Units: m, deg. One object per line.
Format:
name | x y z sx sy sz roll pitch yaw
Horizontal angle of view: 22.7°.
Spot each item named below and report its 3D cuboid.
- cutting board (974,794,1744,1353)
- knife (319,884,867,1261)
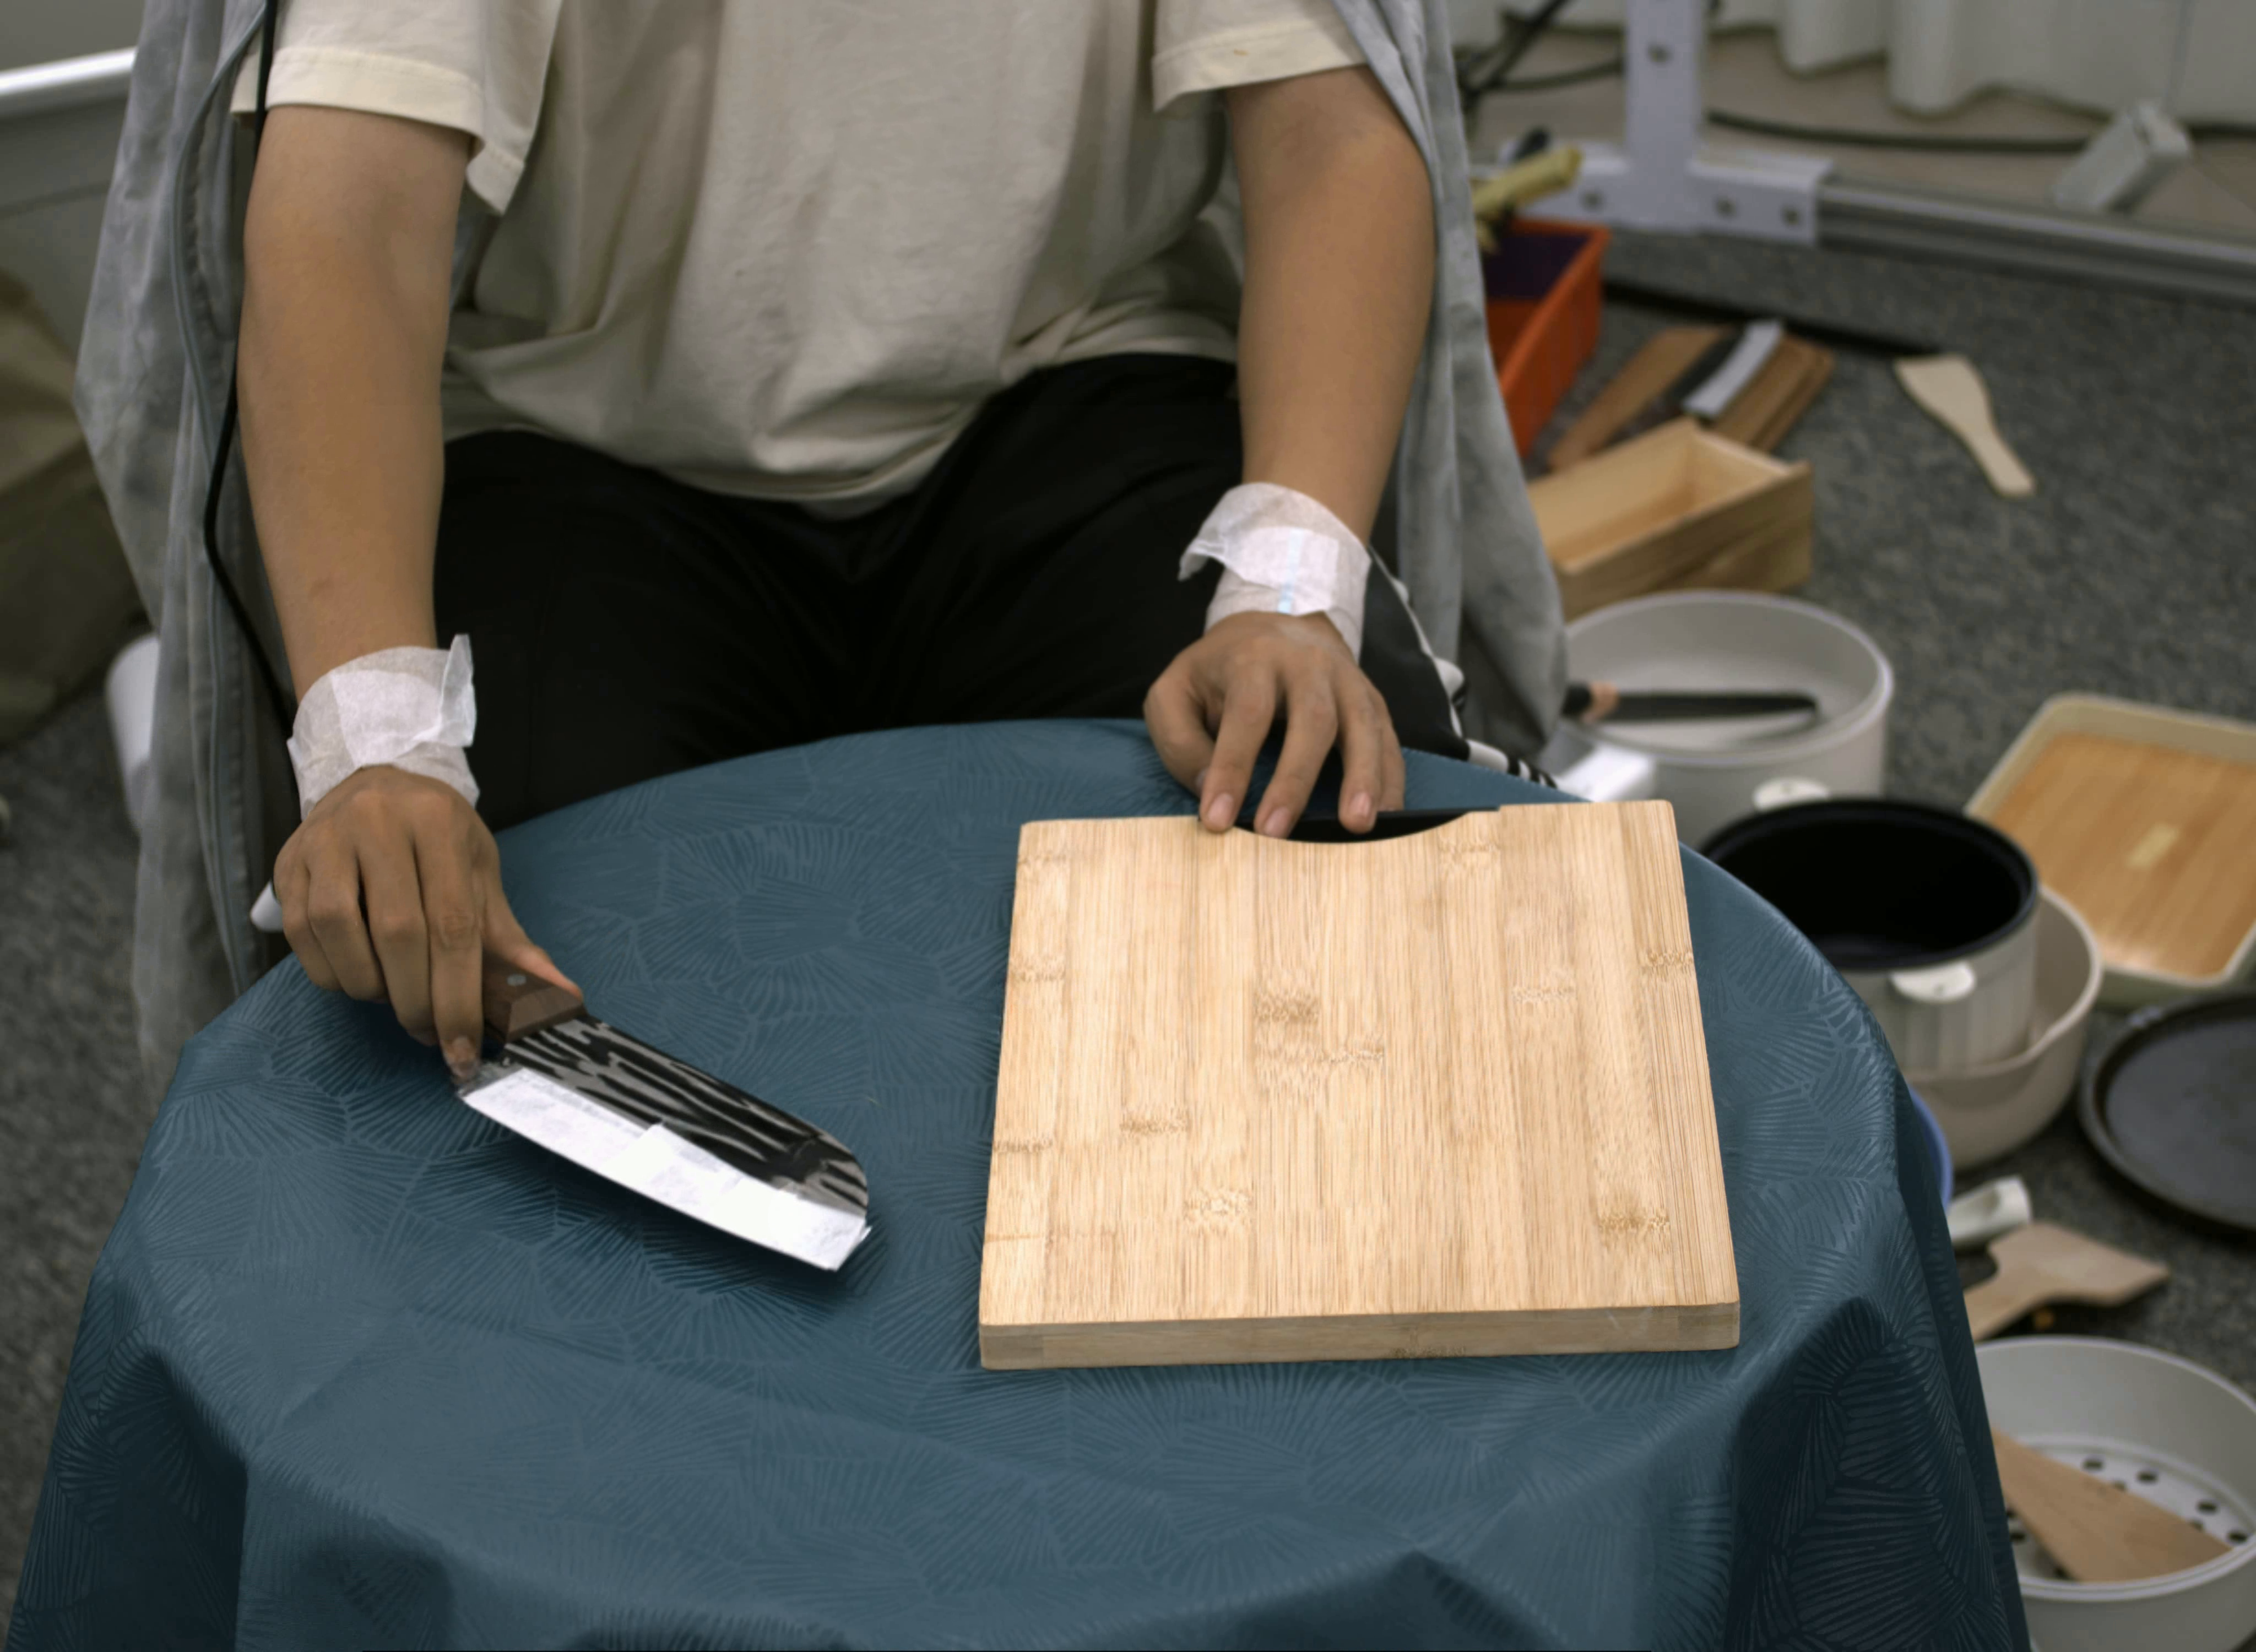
cutting board | 0.077 0.080 1.916 0.249 0.023 0.354 -2 27 1
knife | -0.190 0.084 1.901 0.299 0.024 0.069 24 35 37
